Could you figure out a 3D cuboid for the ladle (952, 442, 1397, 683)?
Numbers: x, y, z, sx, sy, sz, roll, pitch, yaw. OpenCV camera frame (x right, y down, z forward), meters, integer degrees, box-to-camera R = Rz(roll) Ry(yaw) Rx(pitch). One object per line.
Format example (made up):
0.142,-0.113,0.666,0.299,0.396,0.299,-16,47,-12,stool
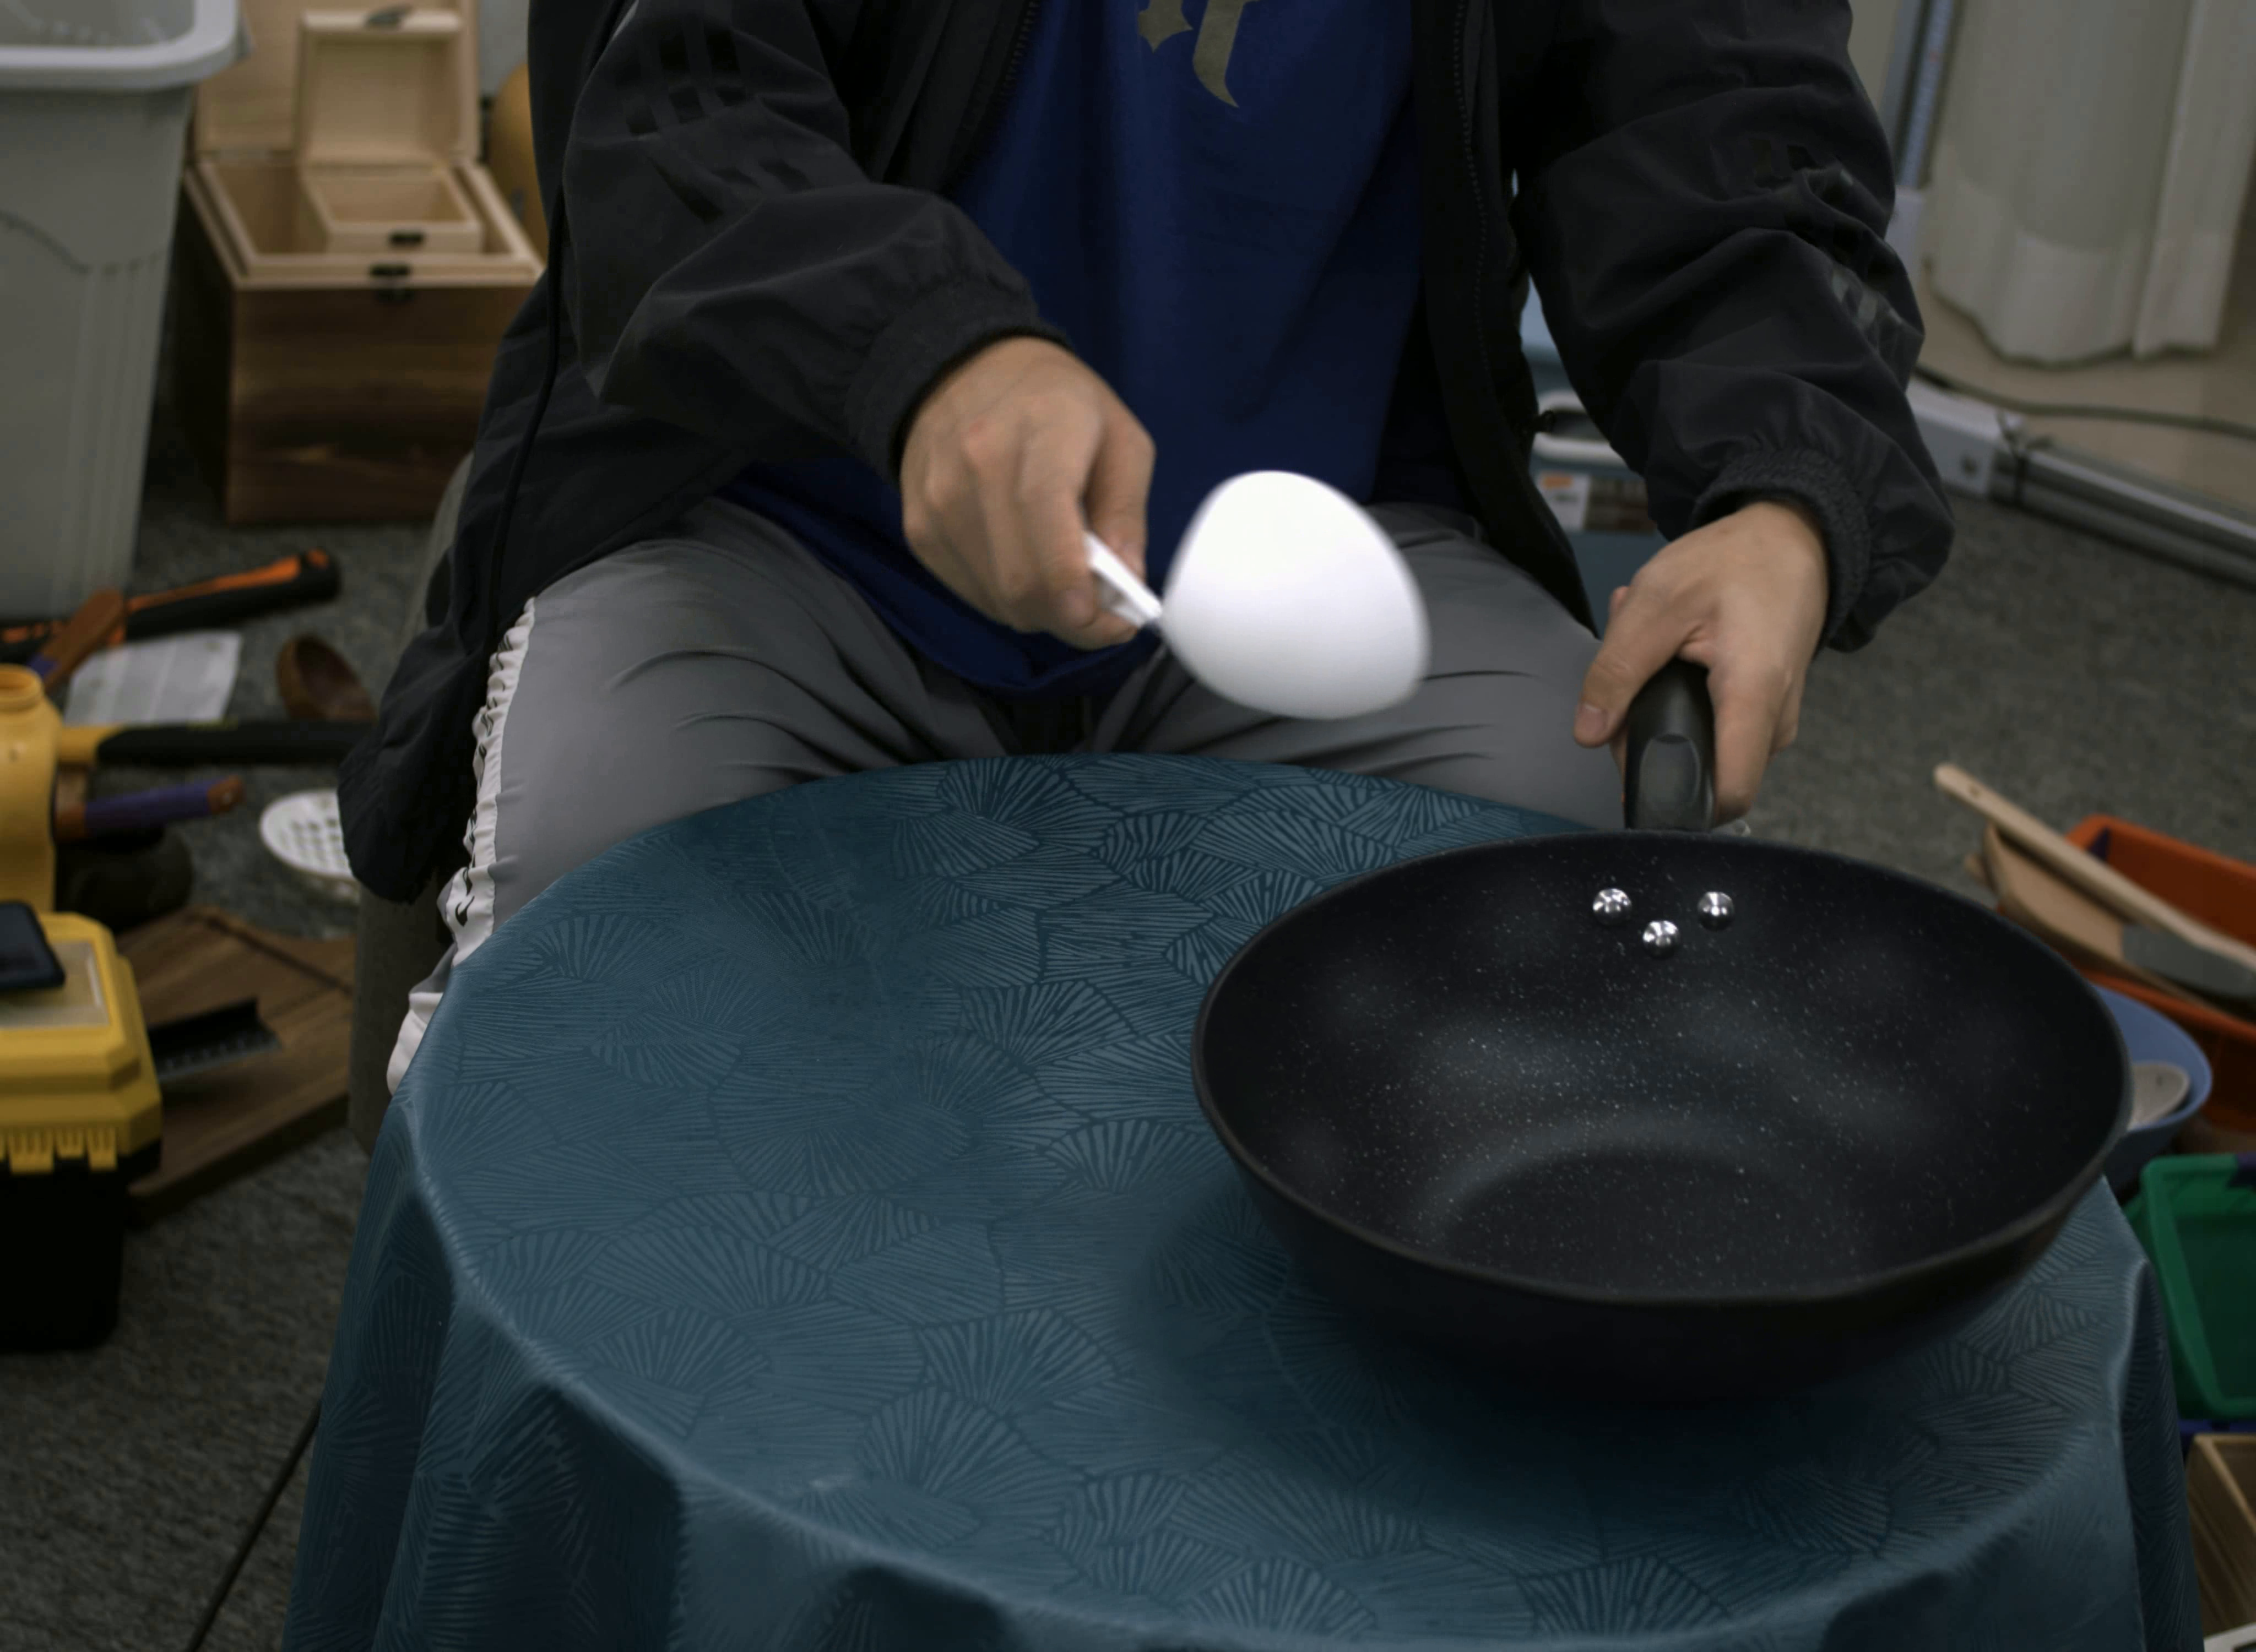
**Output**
0.006,-0.094,1.796,0.070,0.090,0.294,-40,16,-7,ladle

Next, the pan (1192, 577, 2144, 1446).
0.183,0.067,1.822,0.310,0.111,0.479,4,29,5,pan
